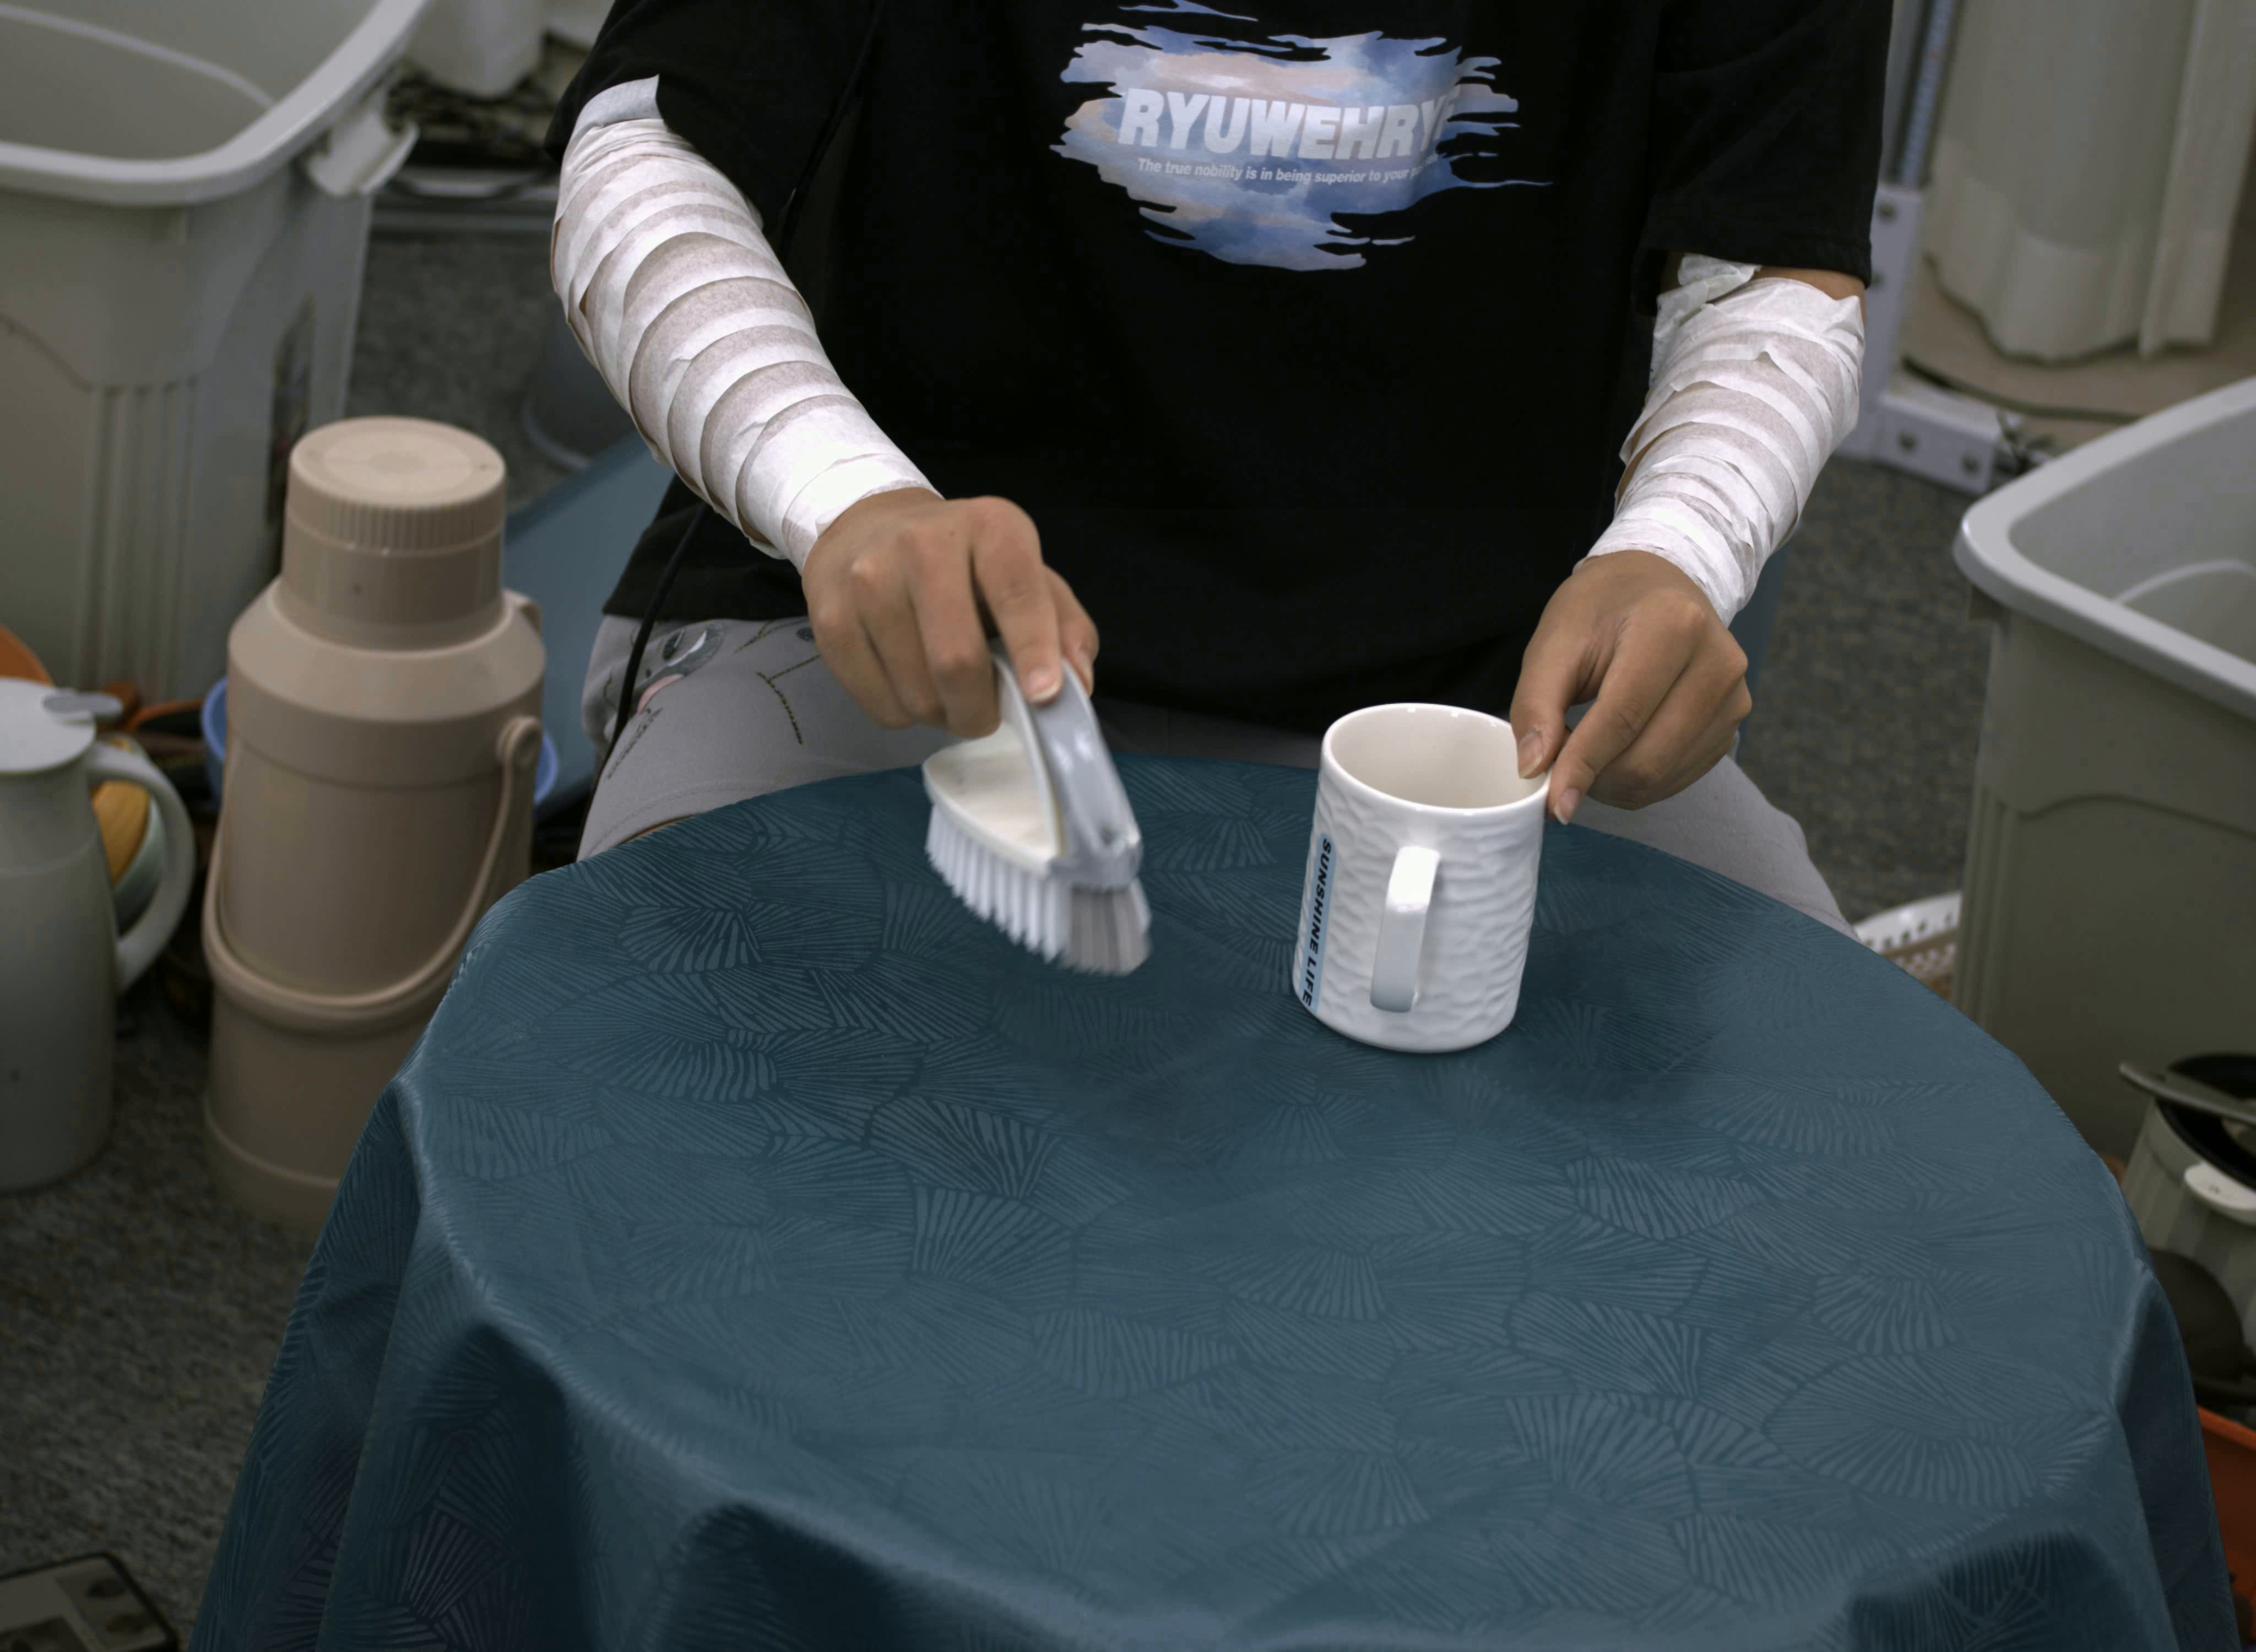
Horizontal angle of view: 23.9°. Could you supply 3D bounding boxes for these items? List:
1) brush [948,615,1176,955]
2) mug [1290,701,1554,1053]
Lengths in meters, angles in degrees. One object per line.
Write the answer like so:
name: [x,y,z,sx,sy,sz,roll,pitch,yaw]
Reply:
brush: [-0.021,-0.019,1.831,0.061,0.094,0.176,-15,20,-11]
mug: [0.103,0.026,1.906,0.085,0.101,0.119,9,27,4]
